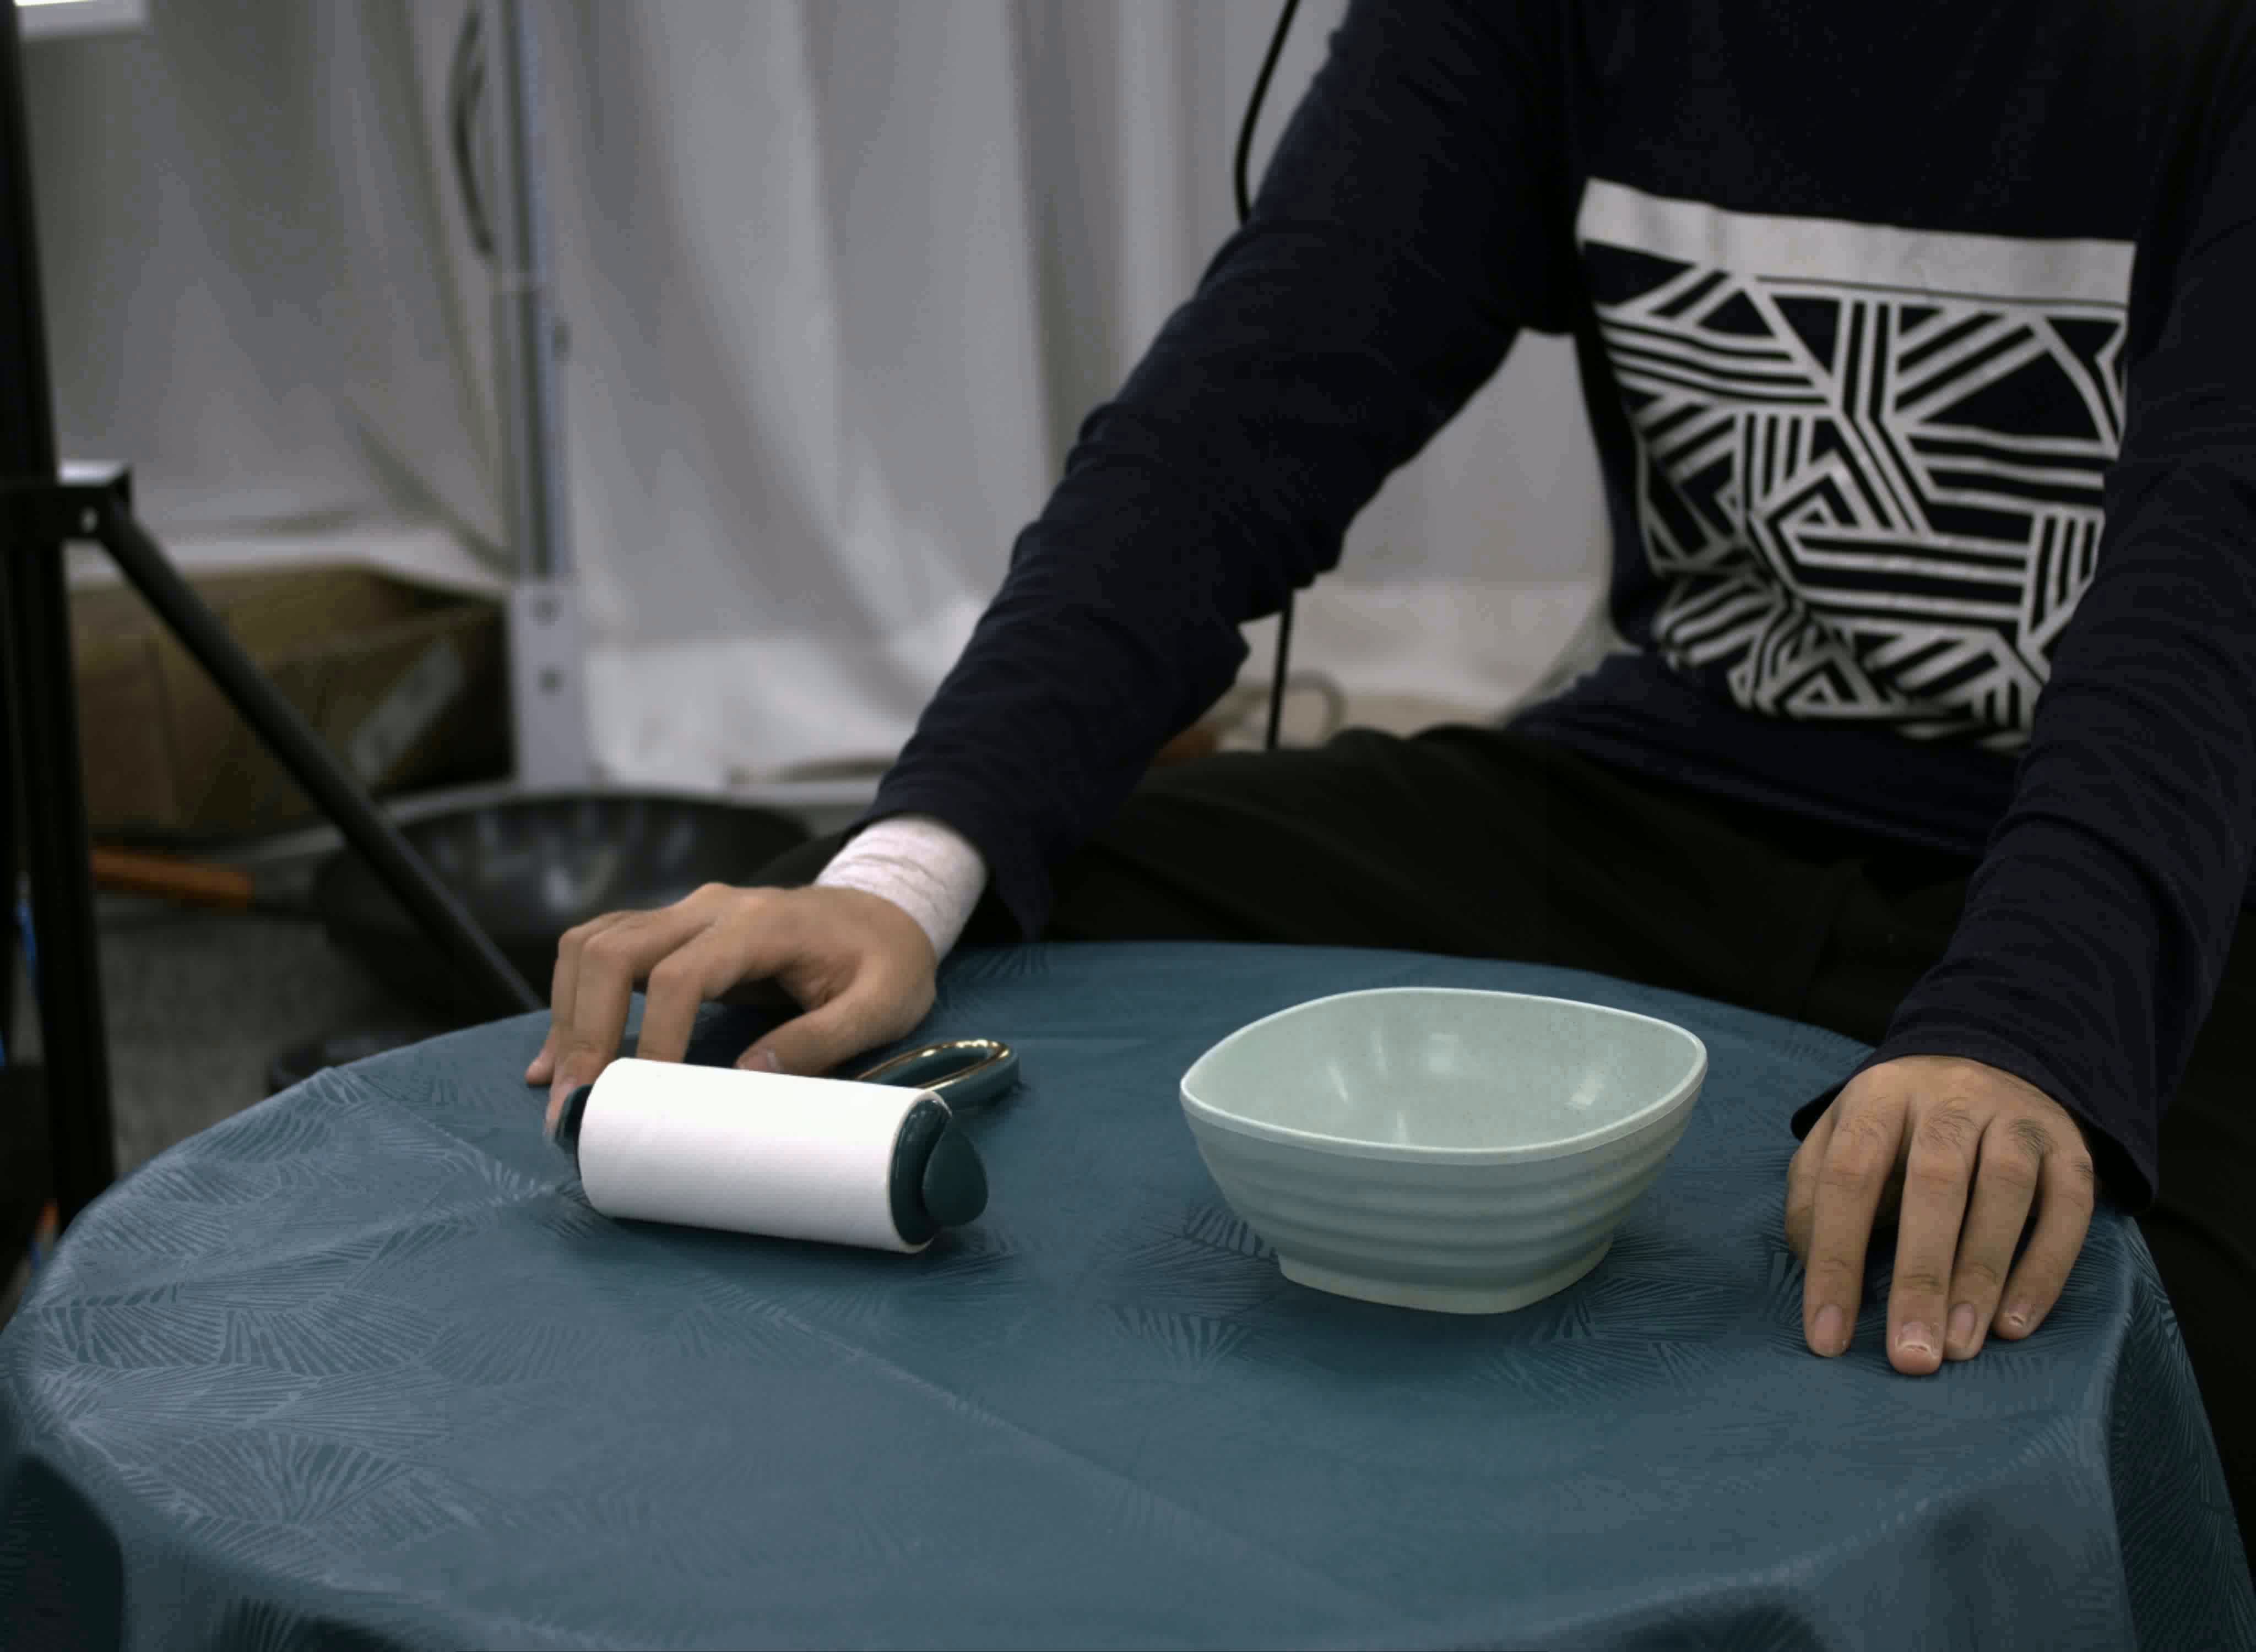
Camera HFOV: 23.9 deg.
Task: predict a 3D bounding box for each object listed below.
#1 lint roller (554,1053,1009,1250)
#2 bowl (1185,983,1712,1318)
[{"bbox_3d":[-0.079,0.081,1.598,0.136,0.048,0.177,5,14,23],"label":"lint roller"},{"bbox_3d":[0.092,0.095,1.490,0.151,0.058,0.152,-5,17,0],"label":"bowl"}]
